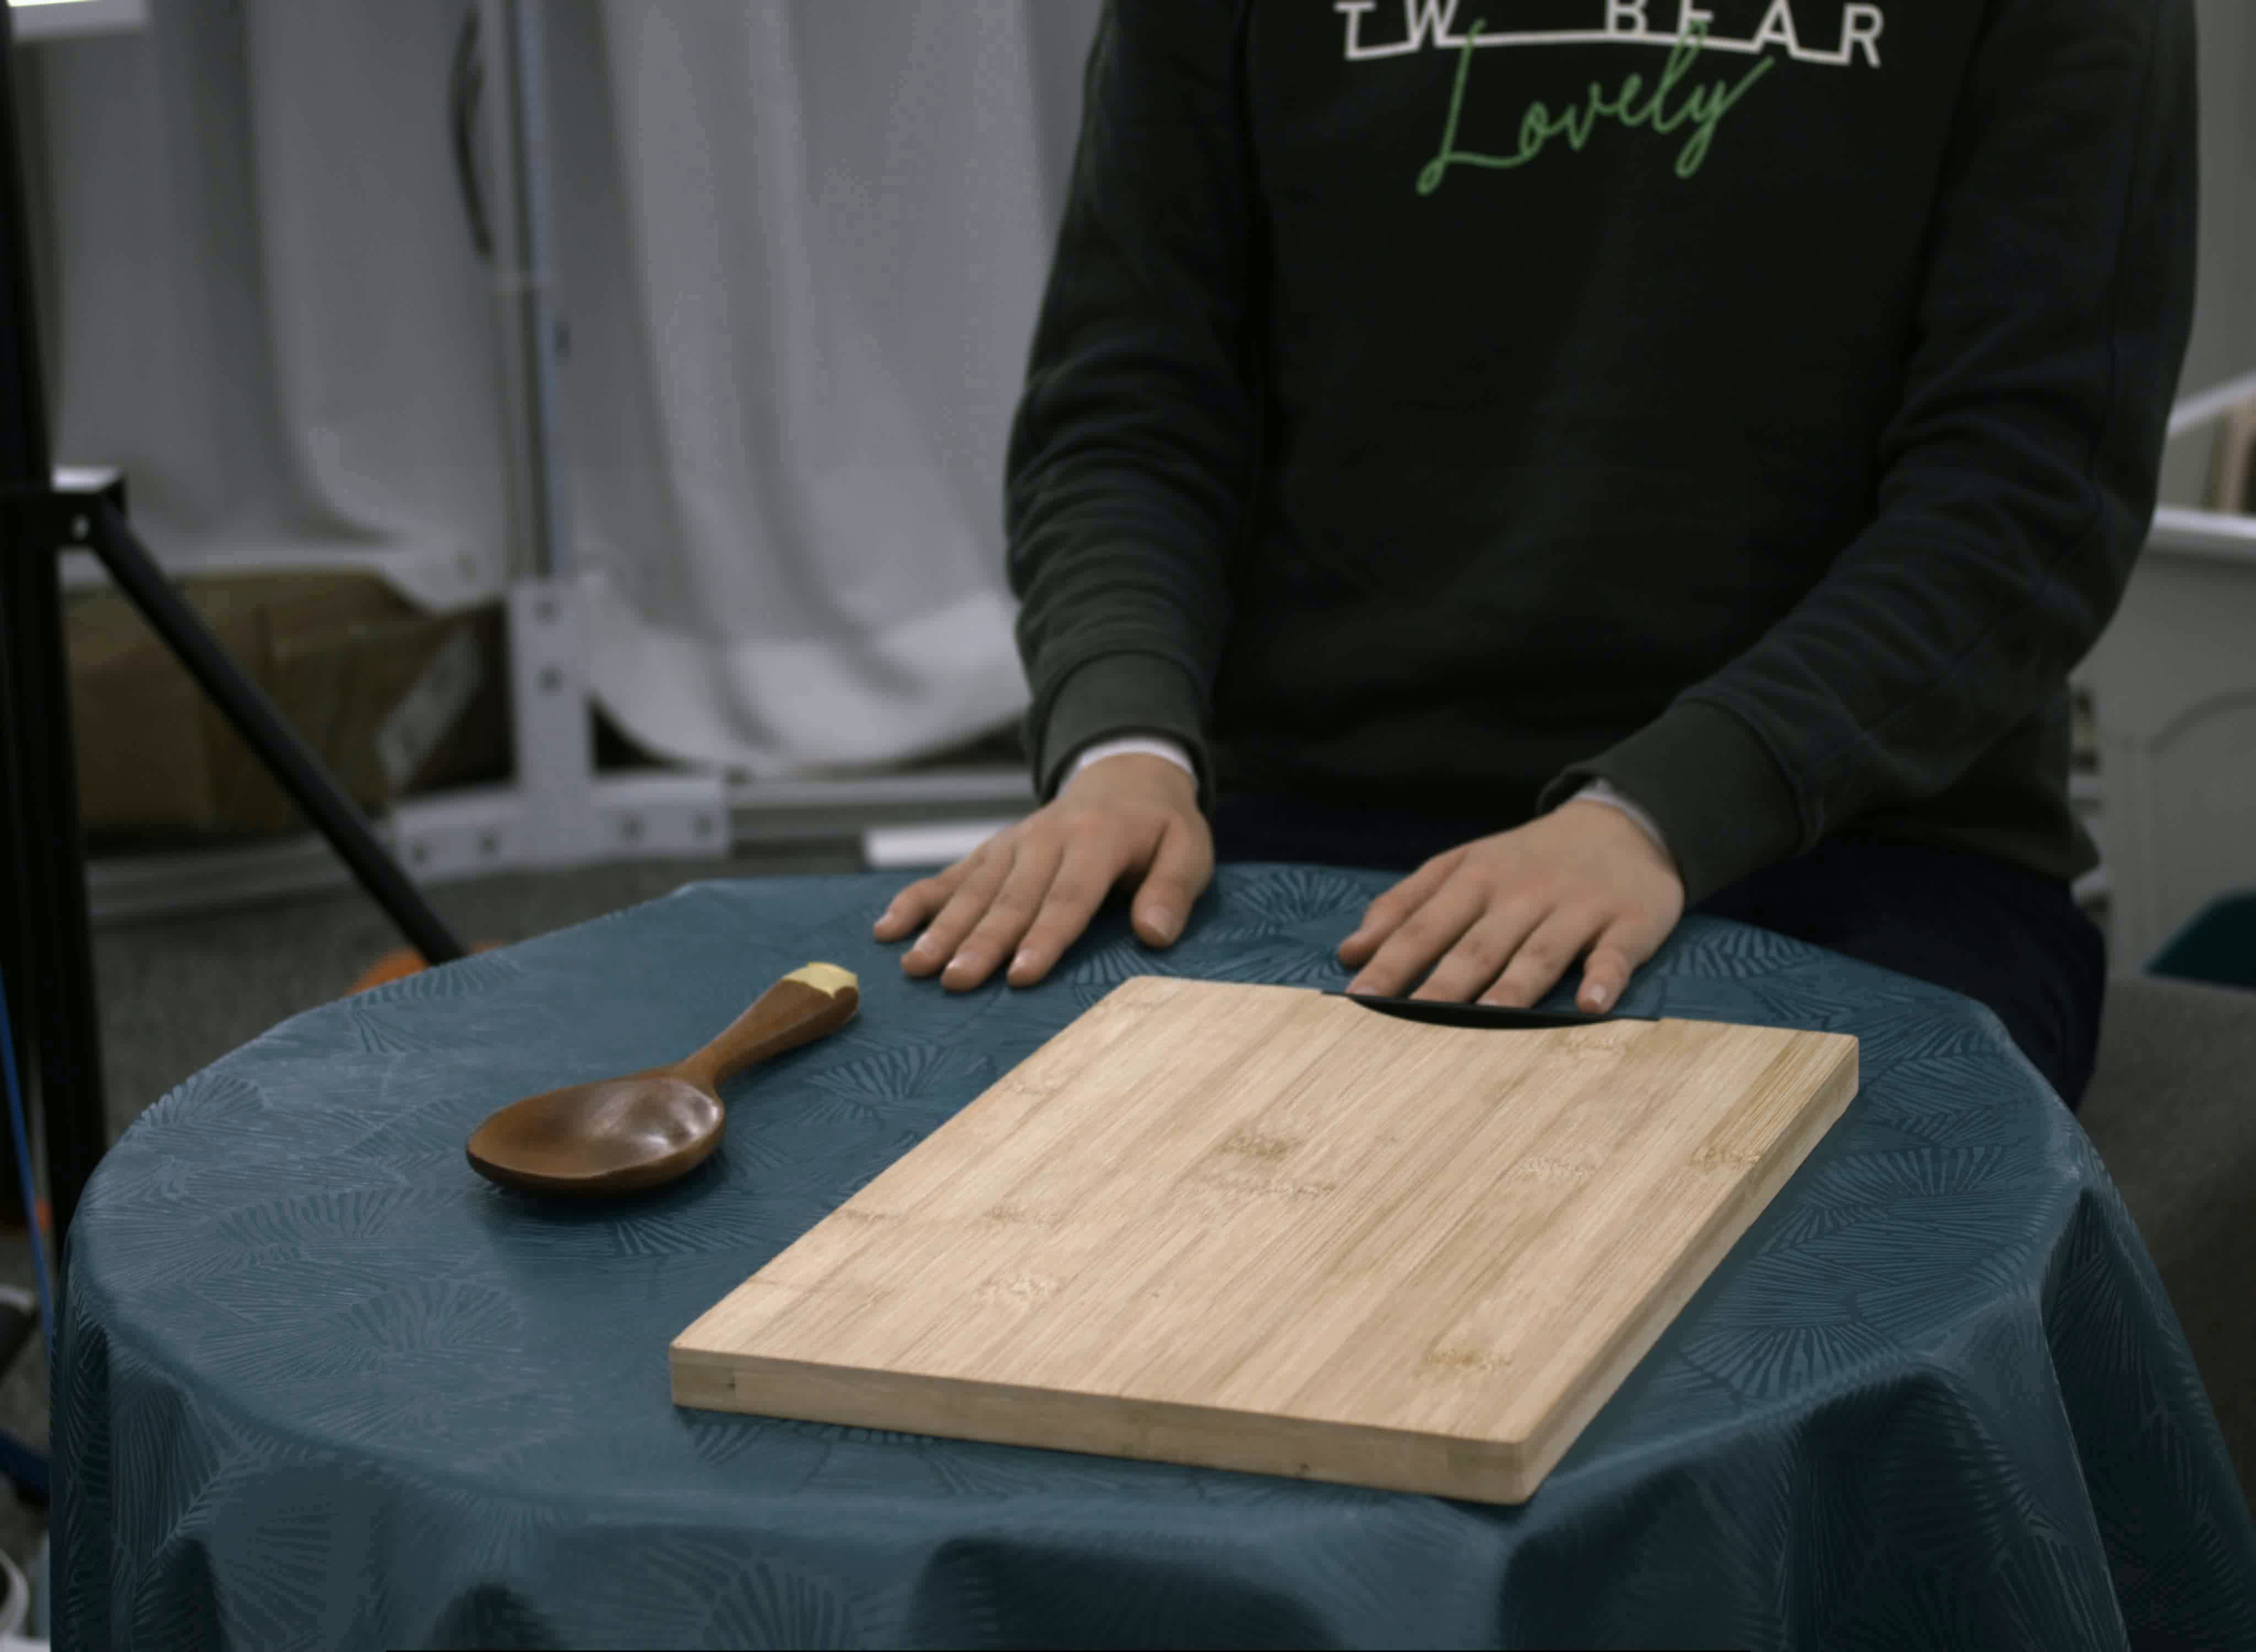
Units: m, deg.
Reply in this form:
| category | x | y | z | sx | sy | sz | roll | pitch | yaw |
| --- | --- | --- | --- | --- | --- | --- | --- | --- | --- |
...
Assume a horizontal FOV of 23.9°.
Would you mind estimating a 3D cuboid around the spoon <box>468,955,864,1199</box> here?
| category | x | y | z | sx | sy | sz | roll | pitch | yaw |
| --- | --- | --- | --- | --- | --- | --- | --- | --- | --- |
| spoon | -0.133 | 0.079 | 1.650 | 0.076 | 0.017 | 0.213 | 2 | 17 | 23 |

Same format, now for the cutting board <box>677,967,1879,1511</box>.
| category | x | y | z | sx | sy | sz | roll | pitch | yaw |
| --- | --- | --- | --- | --- | --- | --- | --- | --- | --- |
| cutting board | 0.054 | 0.109 | 1.517 | 0.254 | 0.023 | 0.344 | 4 | 17 | 21 |
